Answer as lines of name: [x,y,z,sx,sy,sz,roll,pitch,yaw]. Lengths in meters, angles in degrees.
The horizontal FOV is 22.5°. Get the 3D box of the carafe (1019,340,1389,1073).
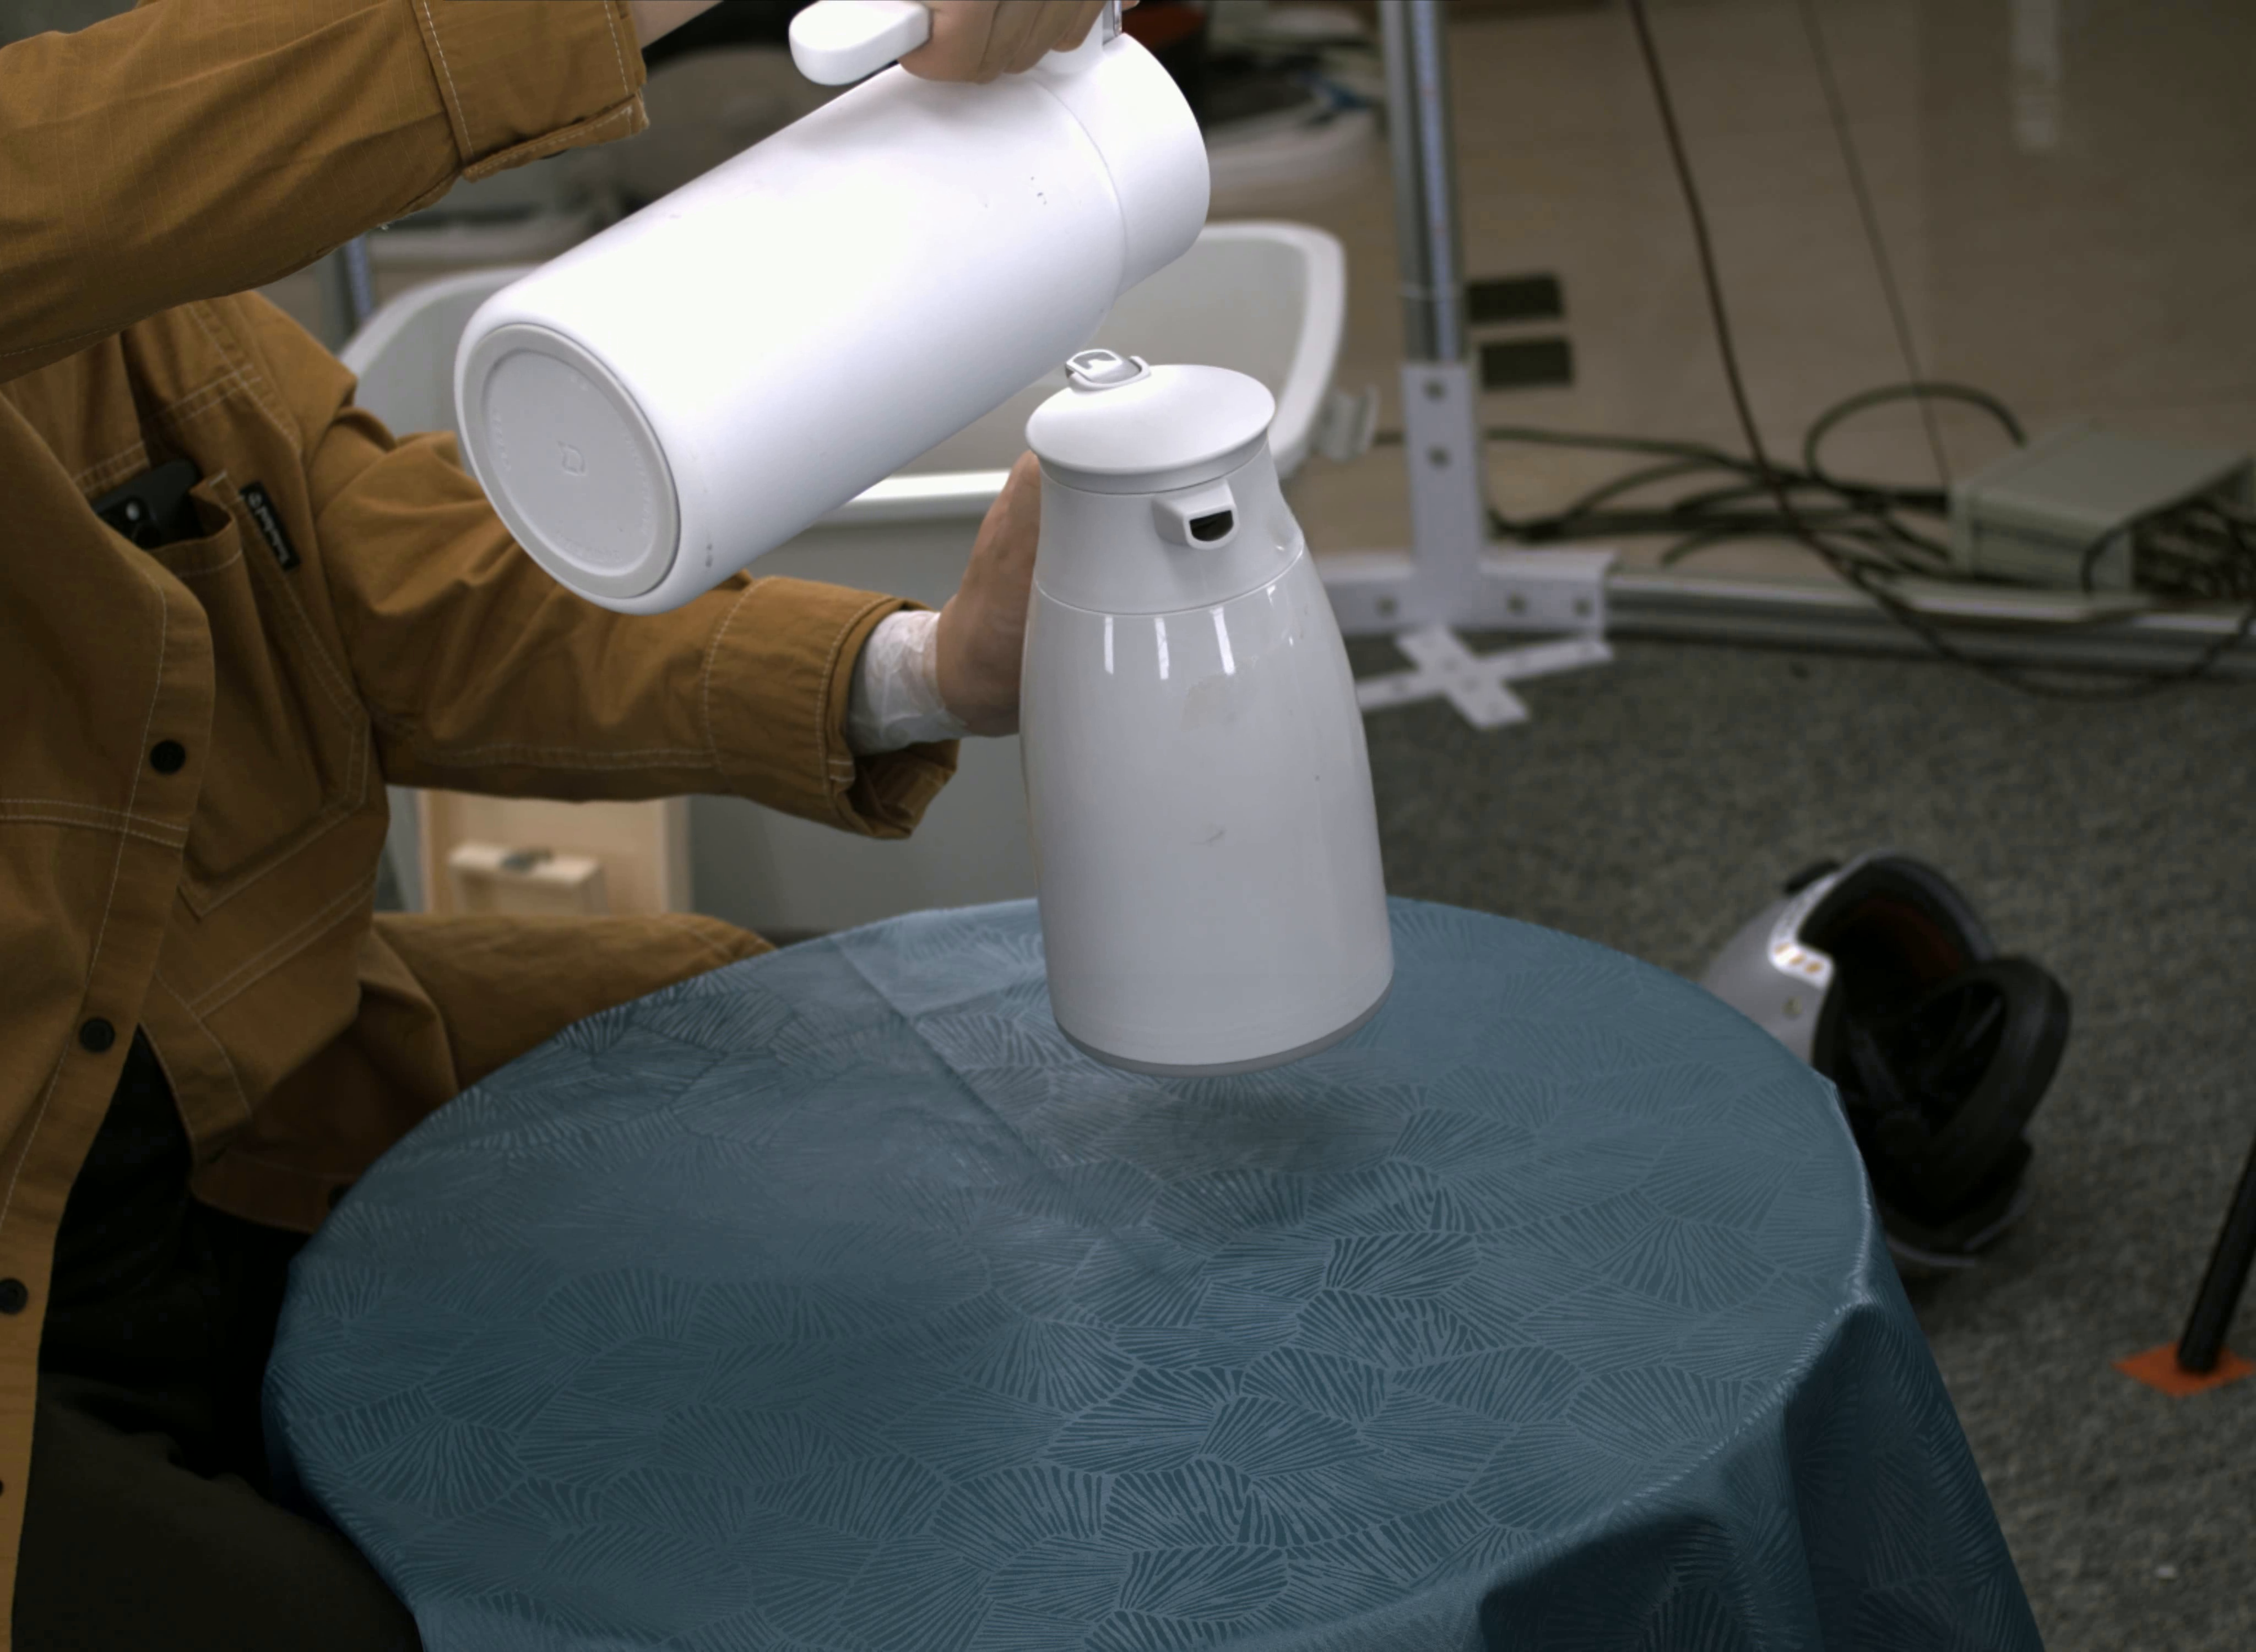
carafe: [0.014,-0.055,2.111,0.132,0.253,0.165,-15,29,-14]

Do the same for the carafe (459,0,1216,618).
carafe: [-0.092,-0.191,1.880,0.122,0.176,0.266,31,49,31]
